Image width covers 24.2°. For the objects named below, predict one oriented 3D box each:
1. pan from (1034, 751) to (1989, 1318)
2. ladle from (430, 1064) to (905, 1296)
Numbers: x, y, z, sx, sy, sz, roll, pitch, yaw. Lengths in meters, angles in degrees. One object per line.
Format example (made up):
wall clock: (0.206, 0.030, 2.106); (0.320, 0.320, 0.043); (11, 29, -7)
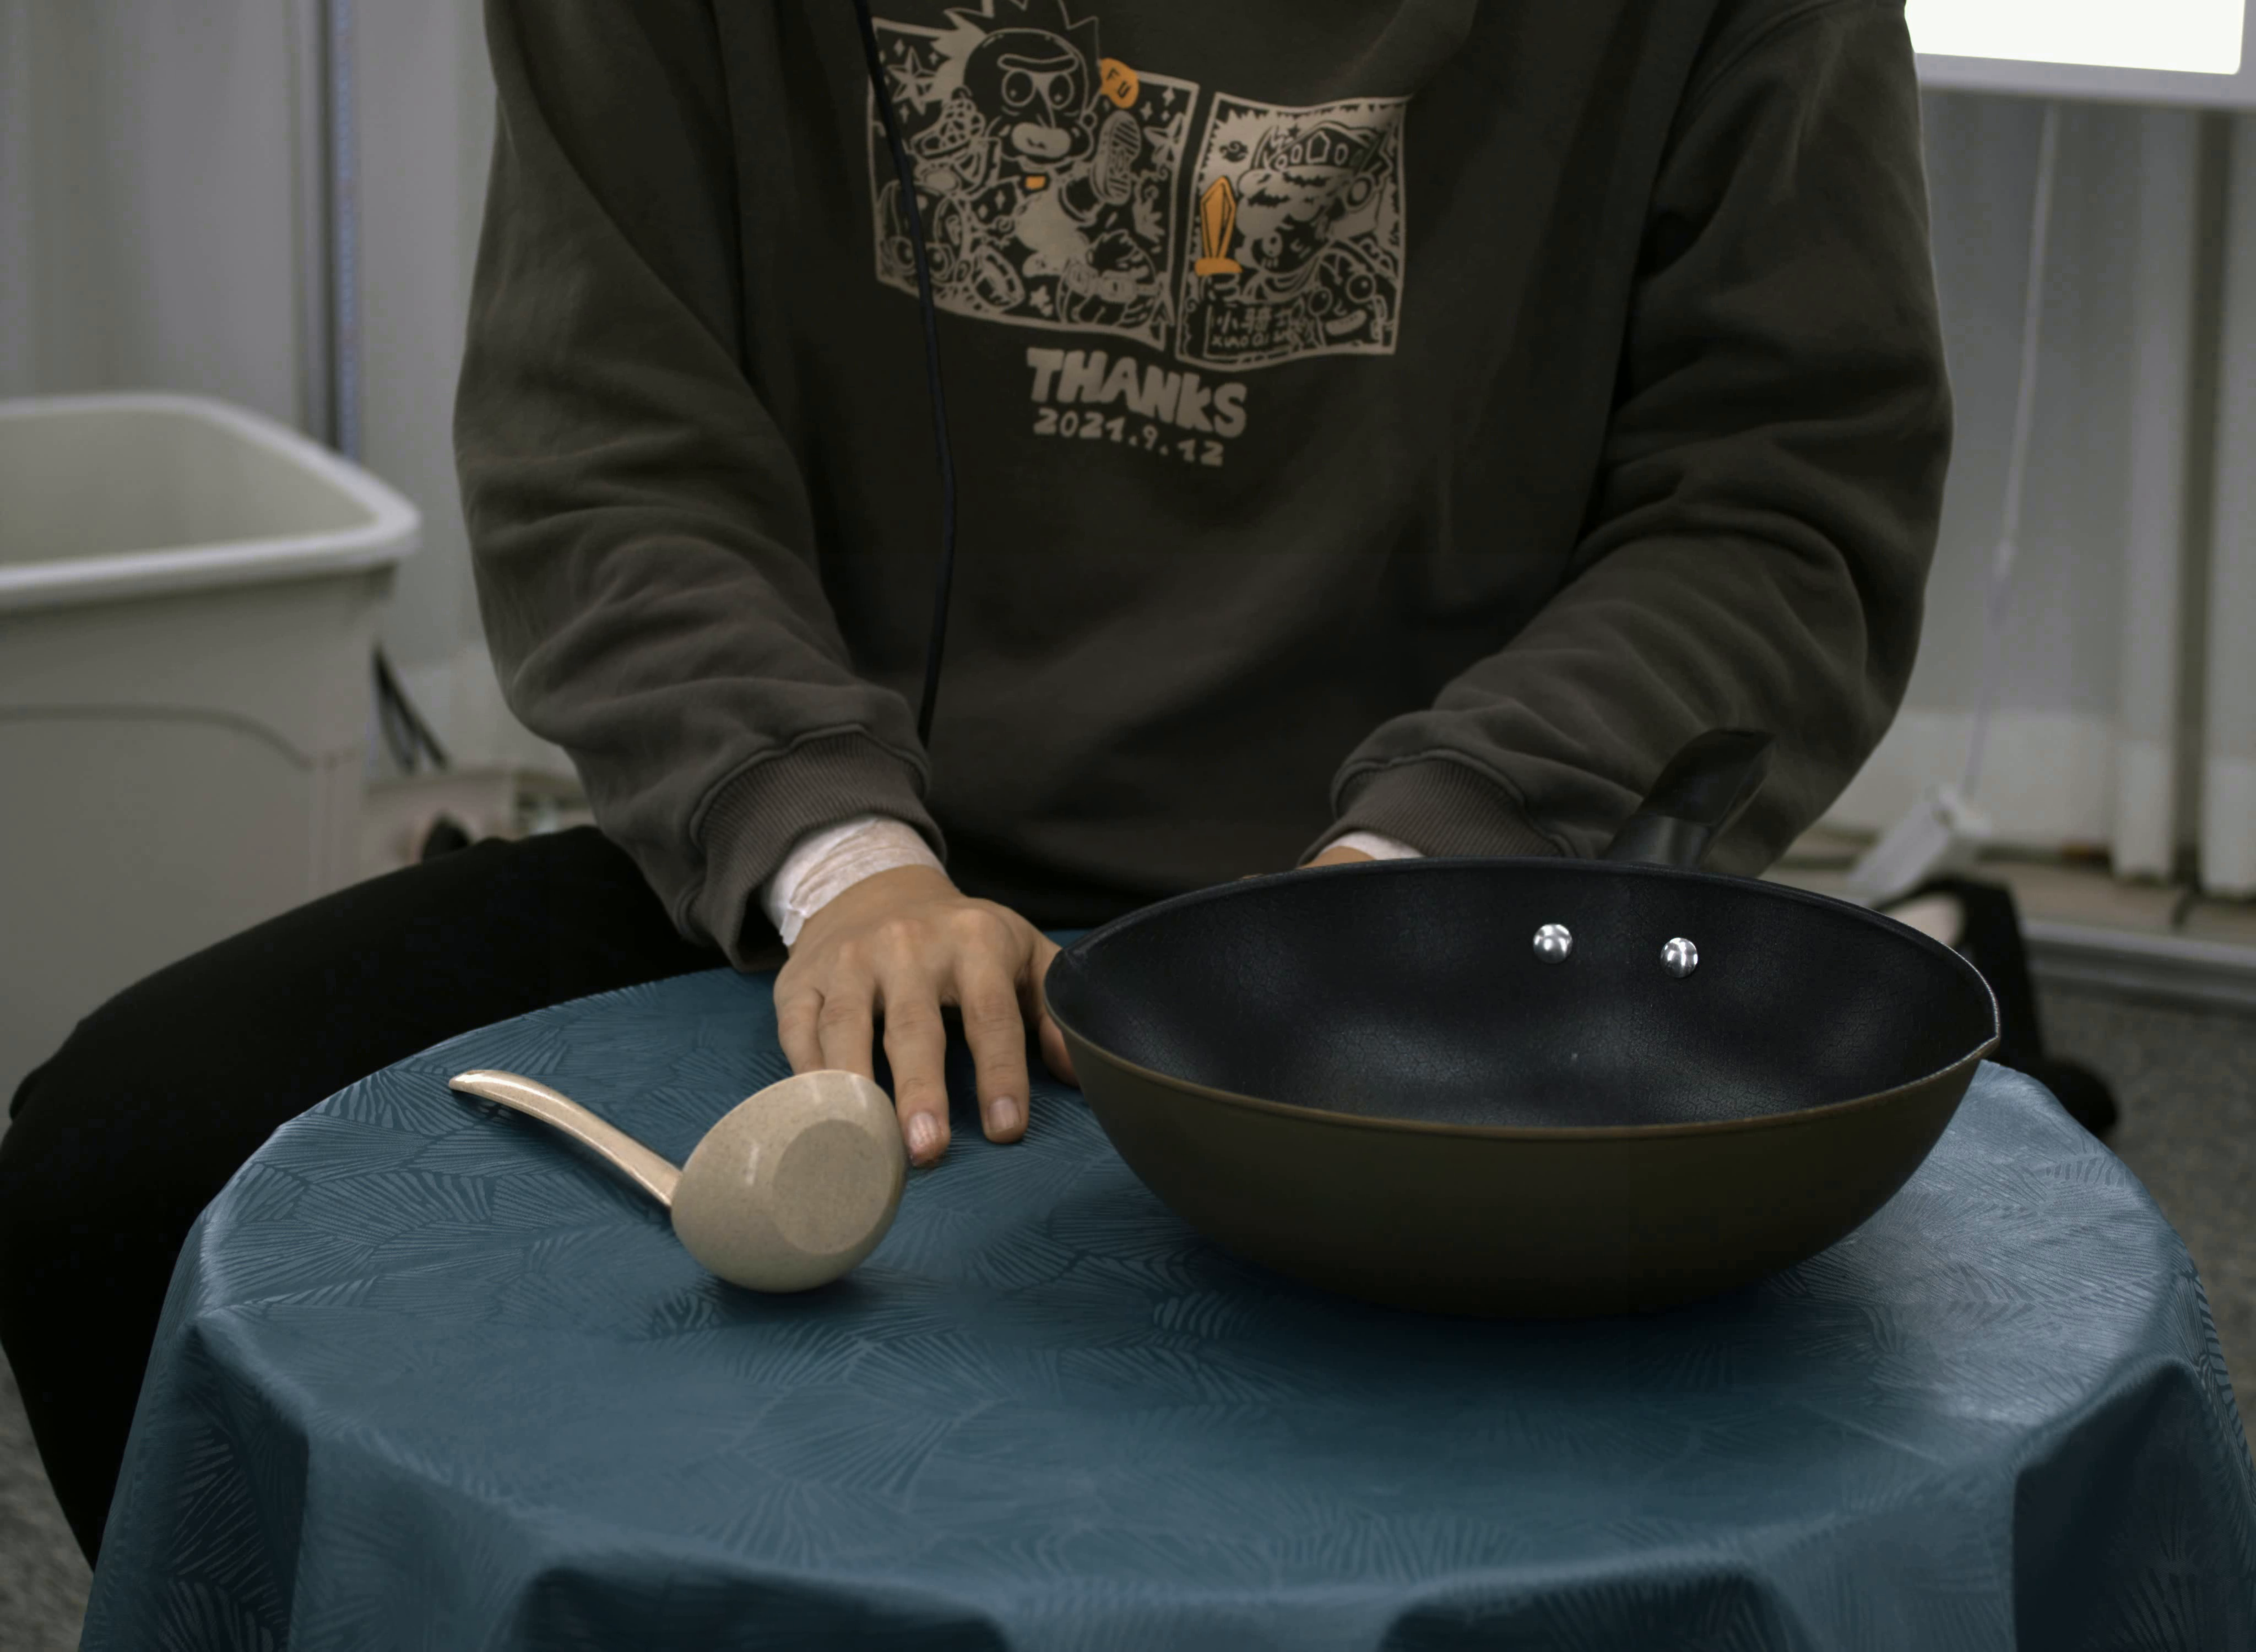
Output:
pan: (0.142, 0.062, 1.662); (0.285, 0.087, 0.463); (5, 15, 18)
ladle: (-0.154, 0.078, 1.610); (0.072, 0.073, 0.251); (-12, 21, -32)
